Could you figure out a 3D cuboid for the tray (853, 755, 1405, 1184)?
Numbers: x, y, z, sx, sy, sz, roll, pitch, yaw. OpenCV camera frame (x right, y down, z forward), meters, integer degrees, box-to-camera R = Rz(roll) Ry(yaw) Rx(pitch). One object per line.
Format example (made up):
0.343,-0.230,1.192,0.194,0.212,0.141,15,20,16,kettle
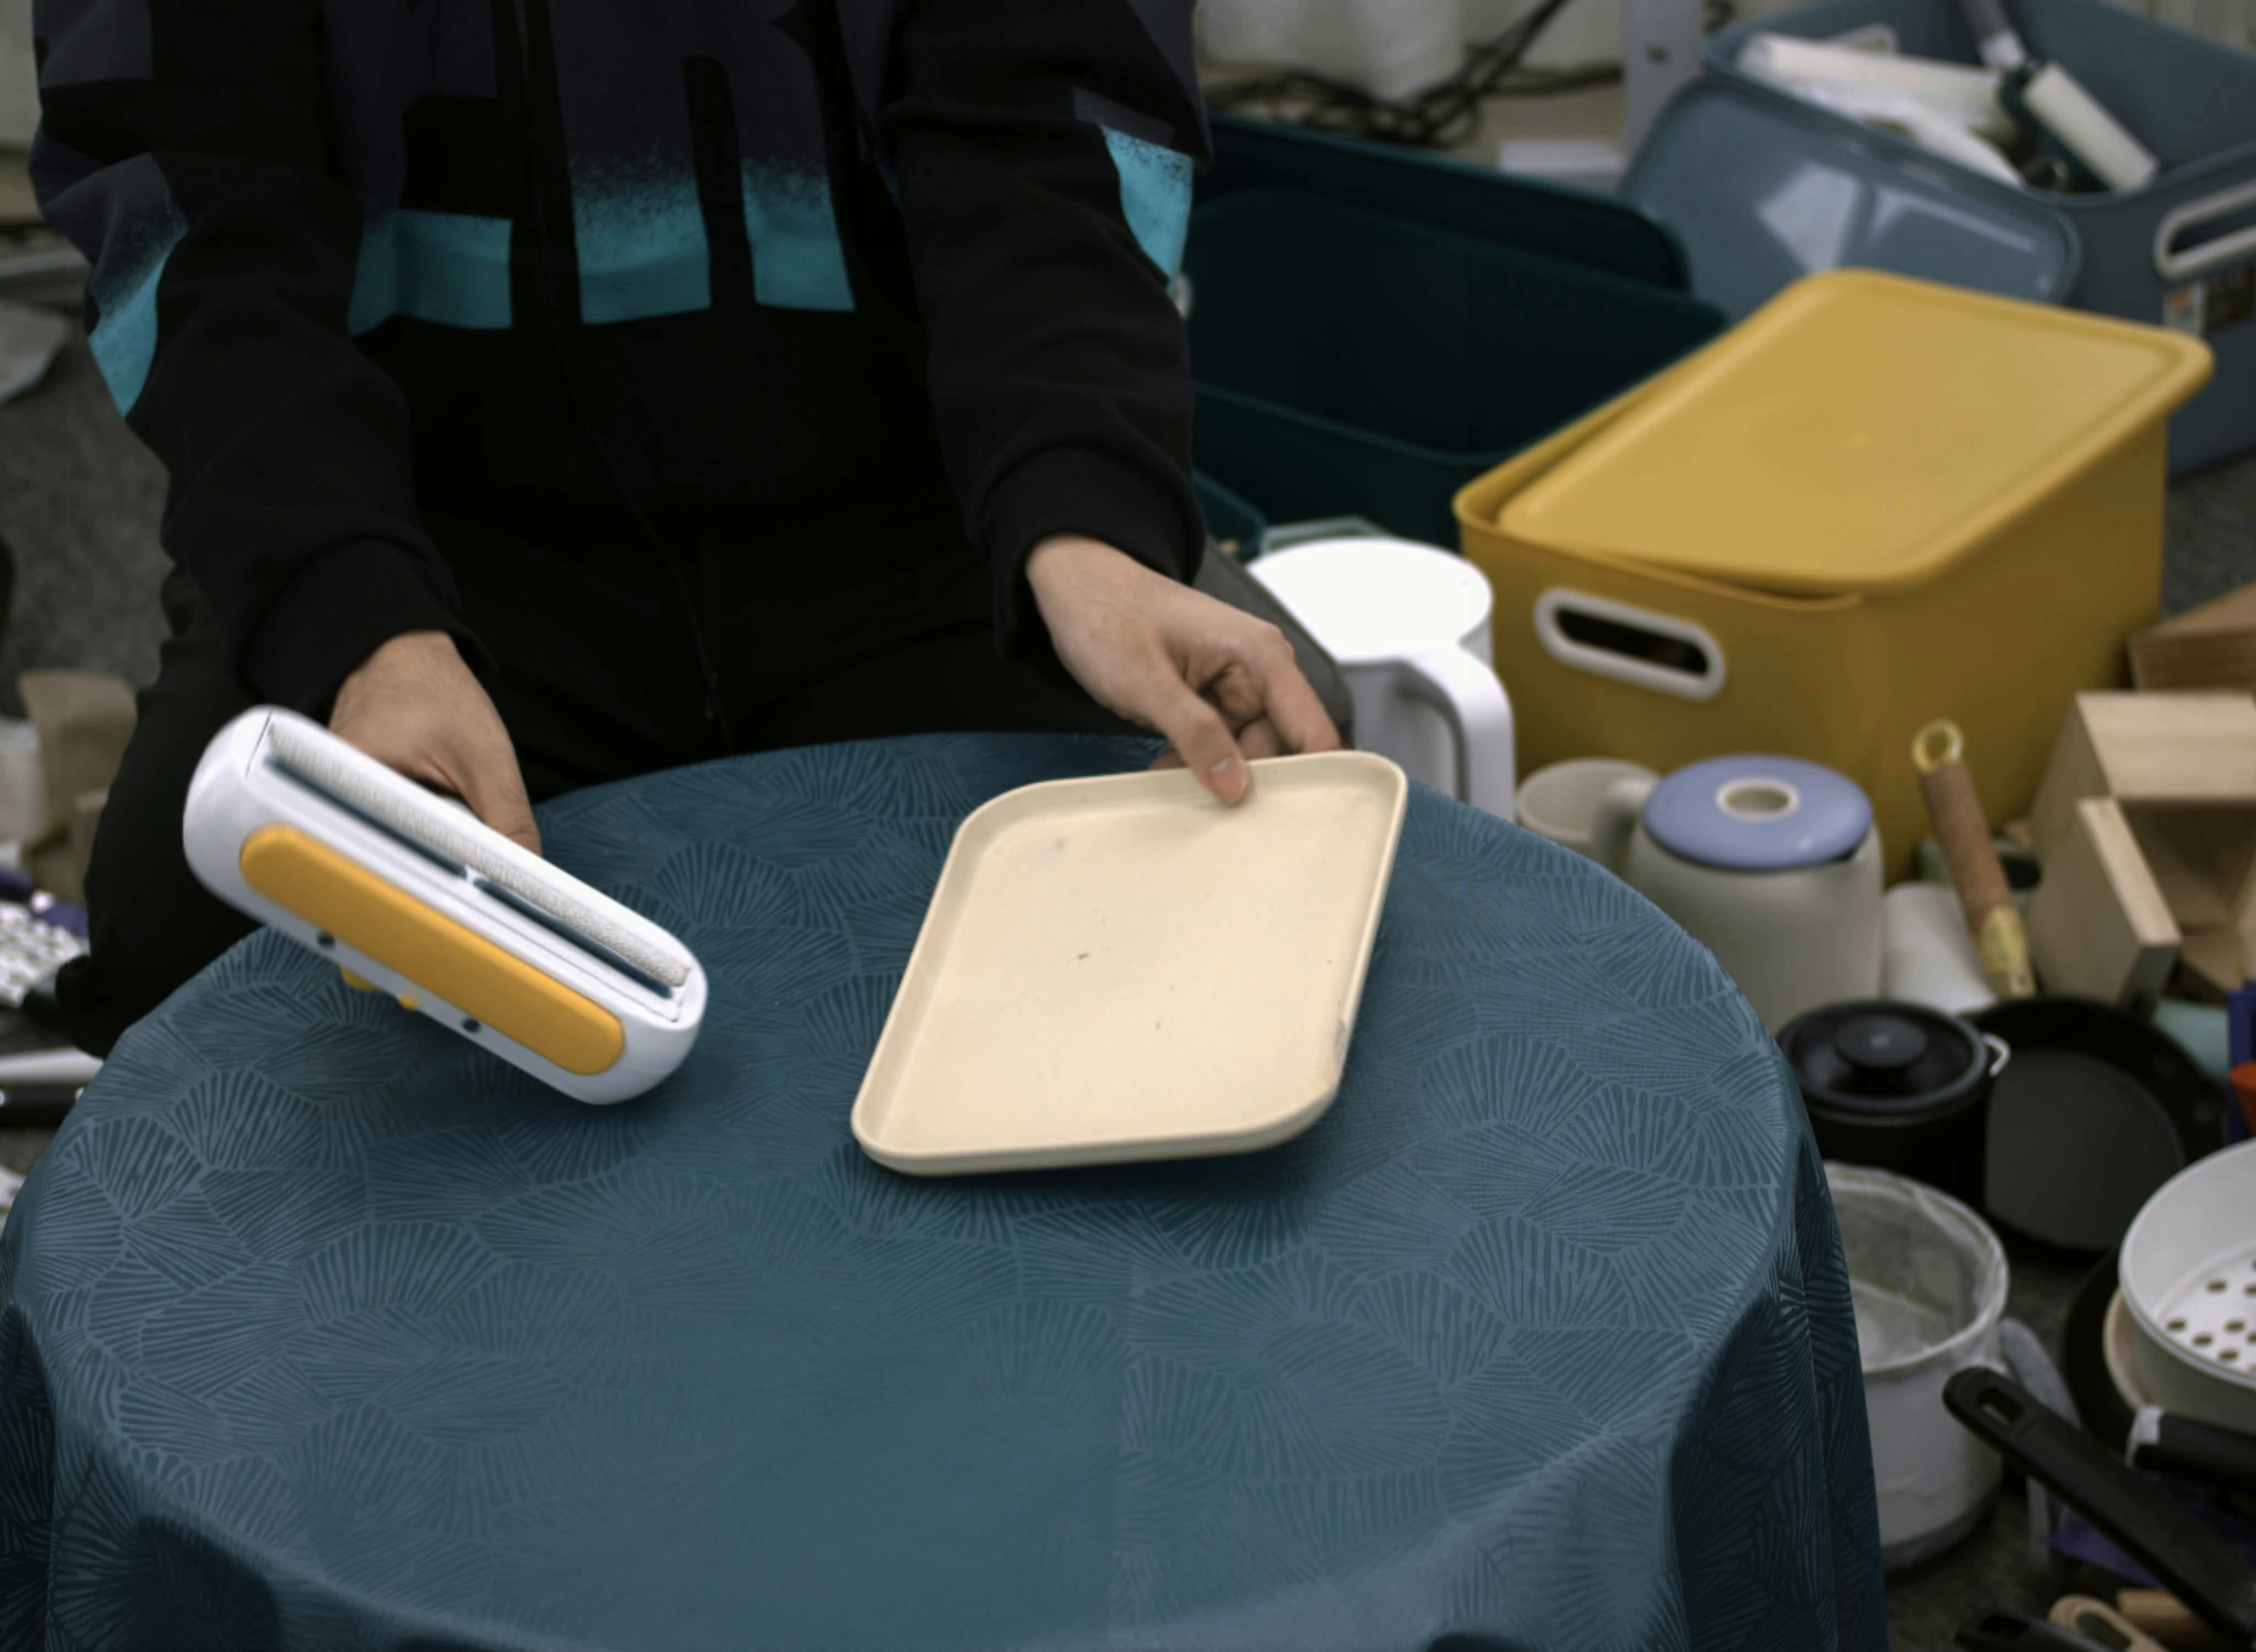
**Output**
0.005,0.049,1.947,0.170,0.017,0.244,-6,30,14,tray

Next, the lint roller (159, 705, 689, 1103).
-0.240,0.013,1.965,0.192,0.073,0.195,27,19,-8,lint roller
